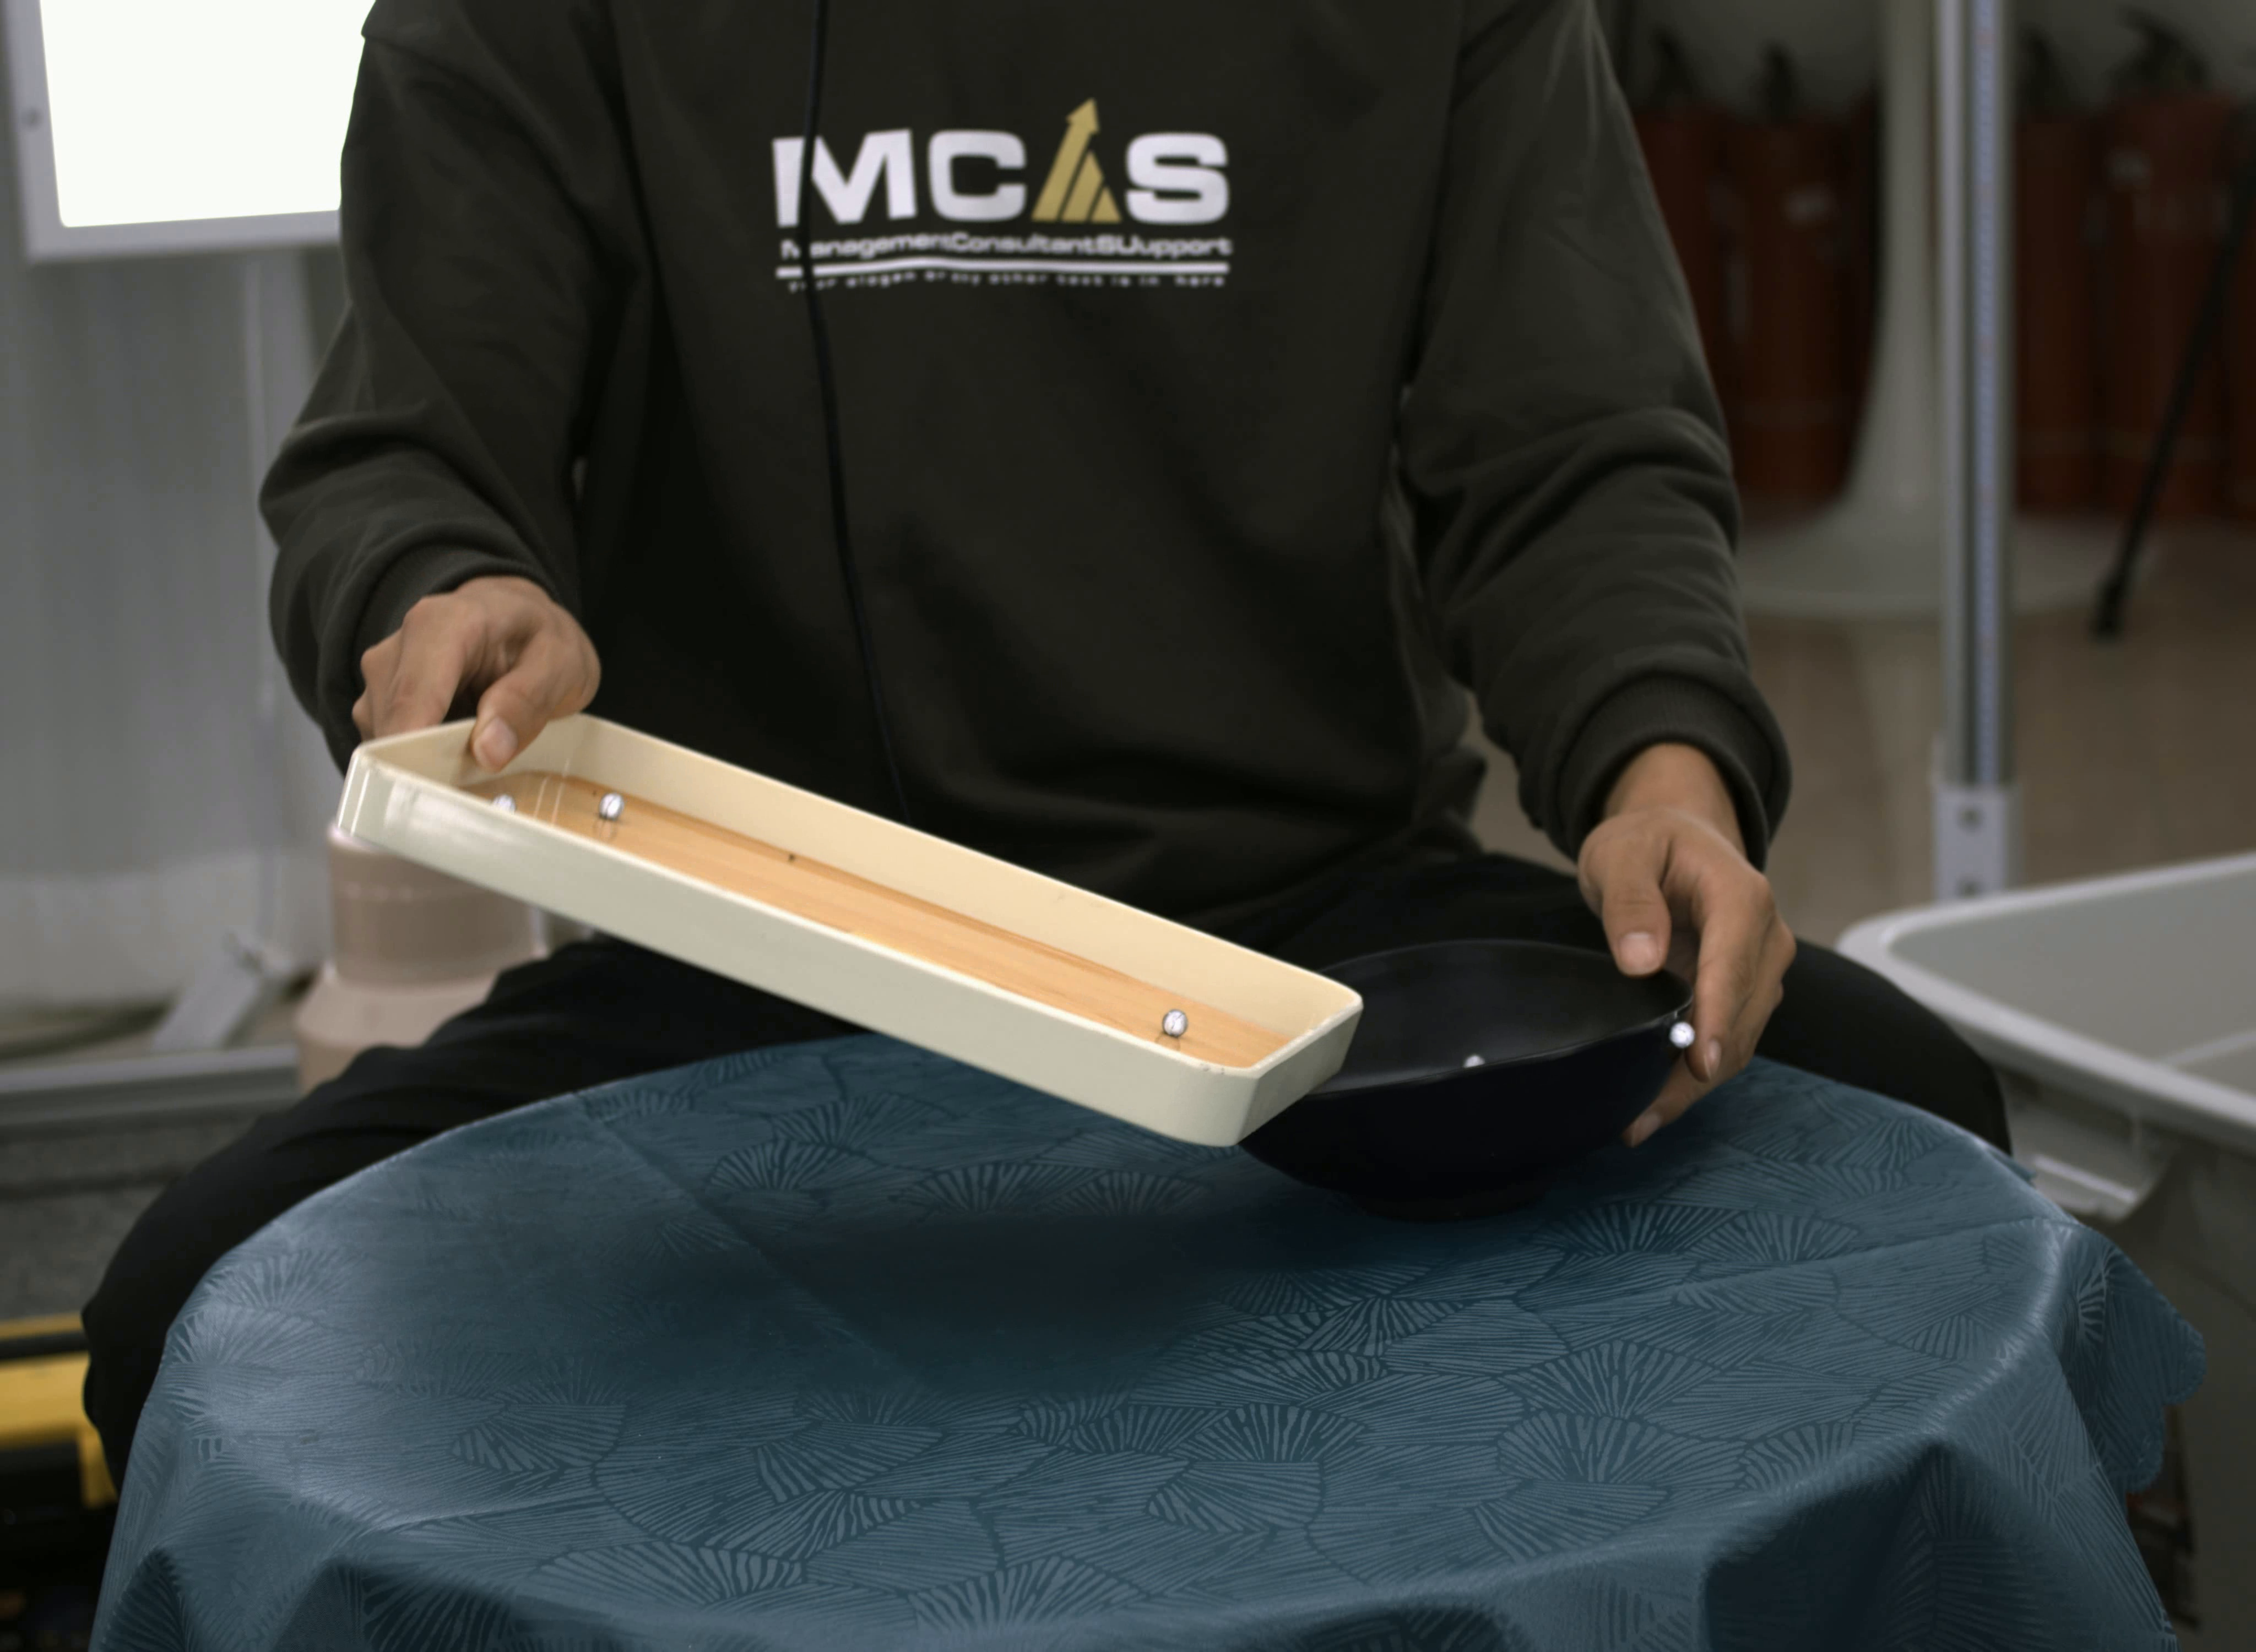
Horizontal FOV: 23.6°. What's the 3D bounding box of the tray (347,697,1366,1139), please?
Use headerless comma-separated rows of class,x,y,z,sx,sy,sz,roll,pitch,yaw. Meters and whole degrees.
tray,-0.081,0.026,1.692,0.299,0.028,0.190,20,9,13

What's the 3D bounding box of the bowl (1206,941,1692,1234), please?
bowl,0.106,0.090,1.744,0.167,0.067,0.138,-13,15,-19
